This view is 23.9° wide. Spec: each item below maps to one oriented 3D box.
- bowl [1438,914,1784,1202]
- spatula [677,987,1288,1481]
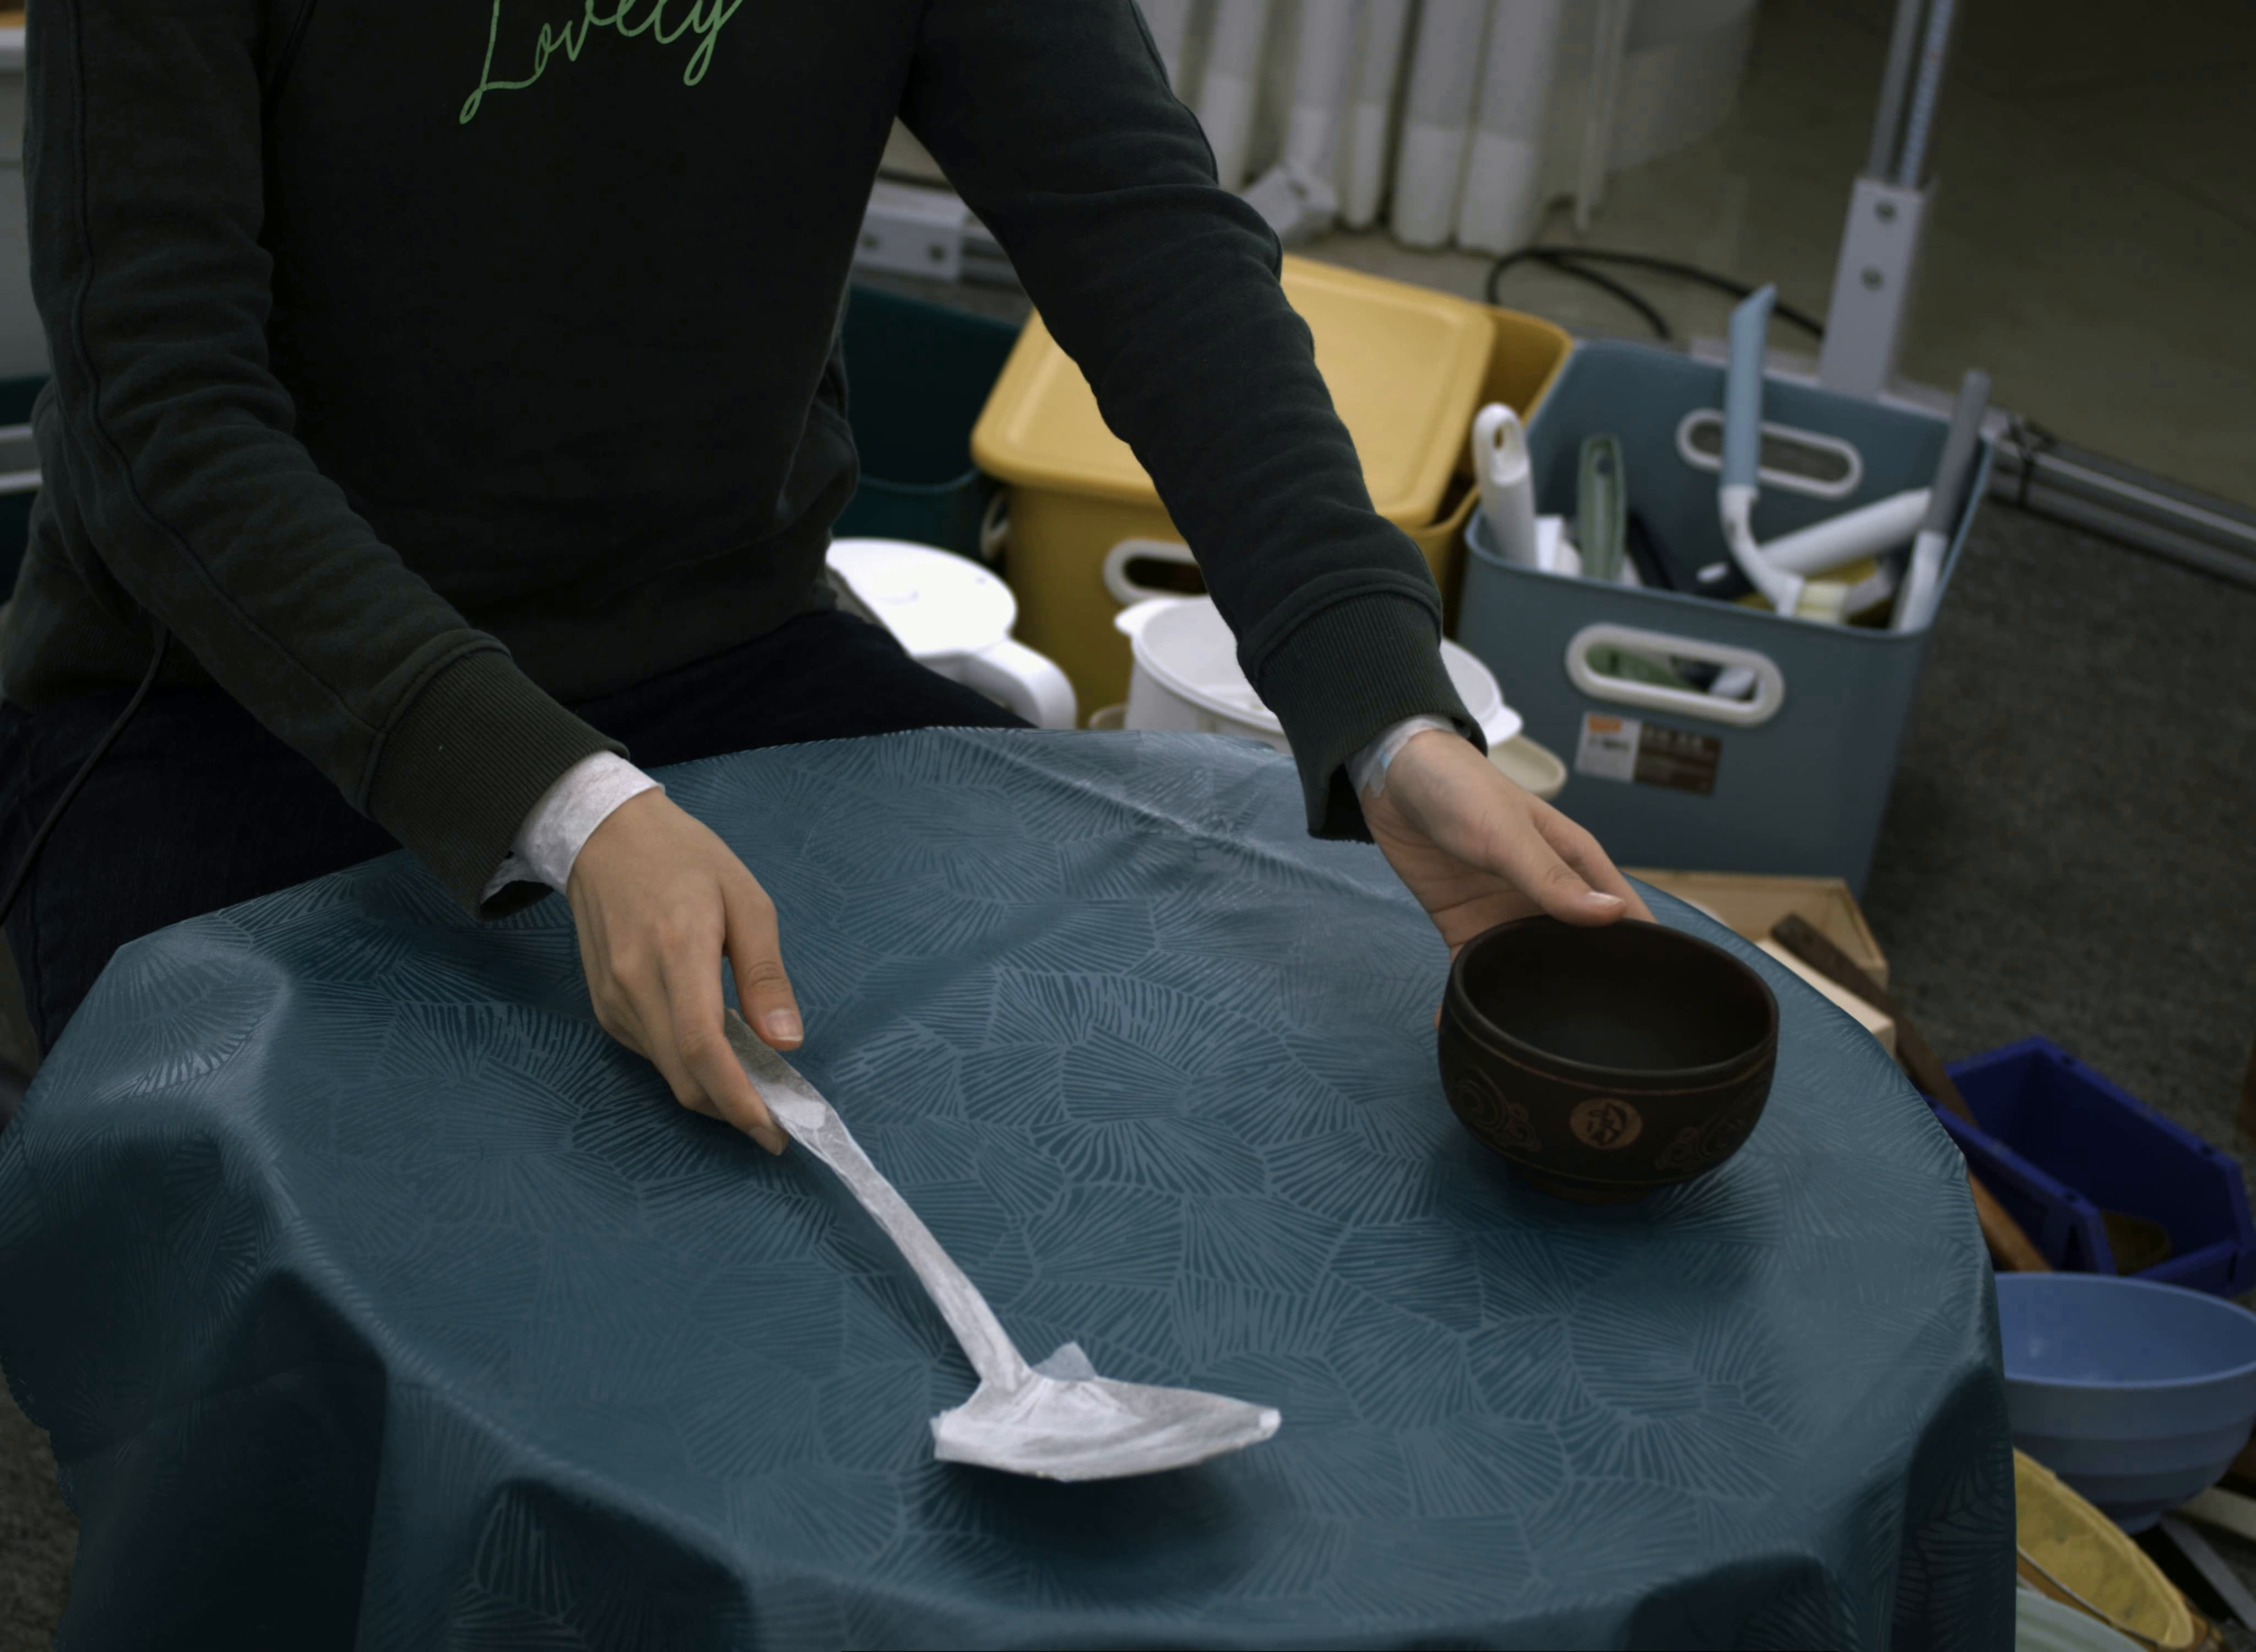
[{"bbox_3d":[0.164,0.086,1.833,0.117,0.069,0.118,5,24,-3],"label":"bowl"},{"bbox_3d":[-0.072,0.124,1.736,0.098,0.044,0.368,-10,32,-27],"label":"spatula"}]
